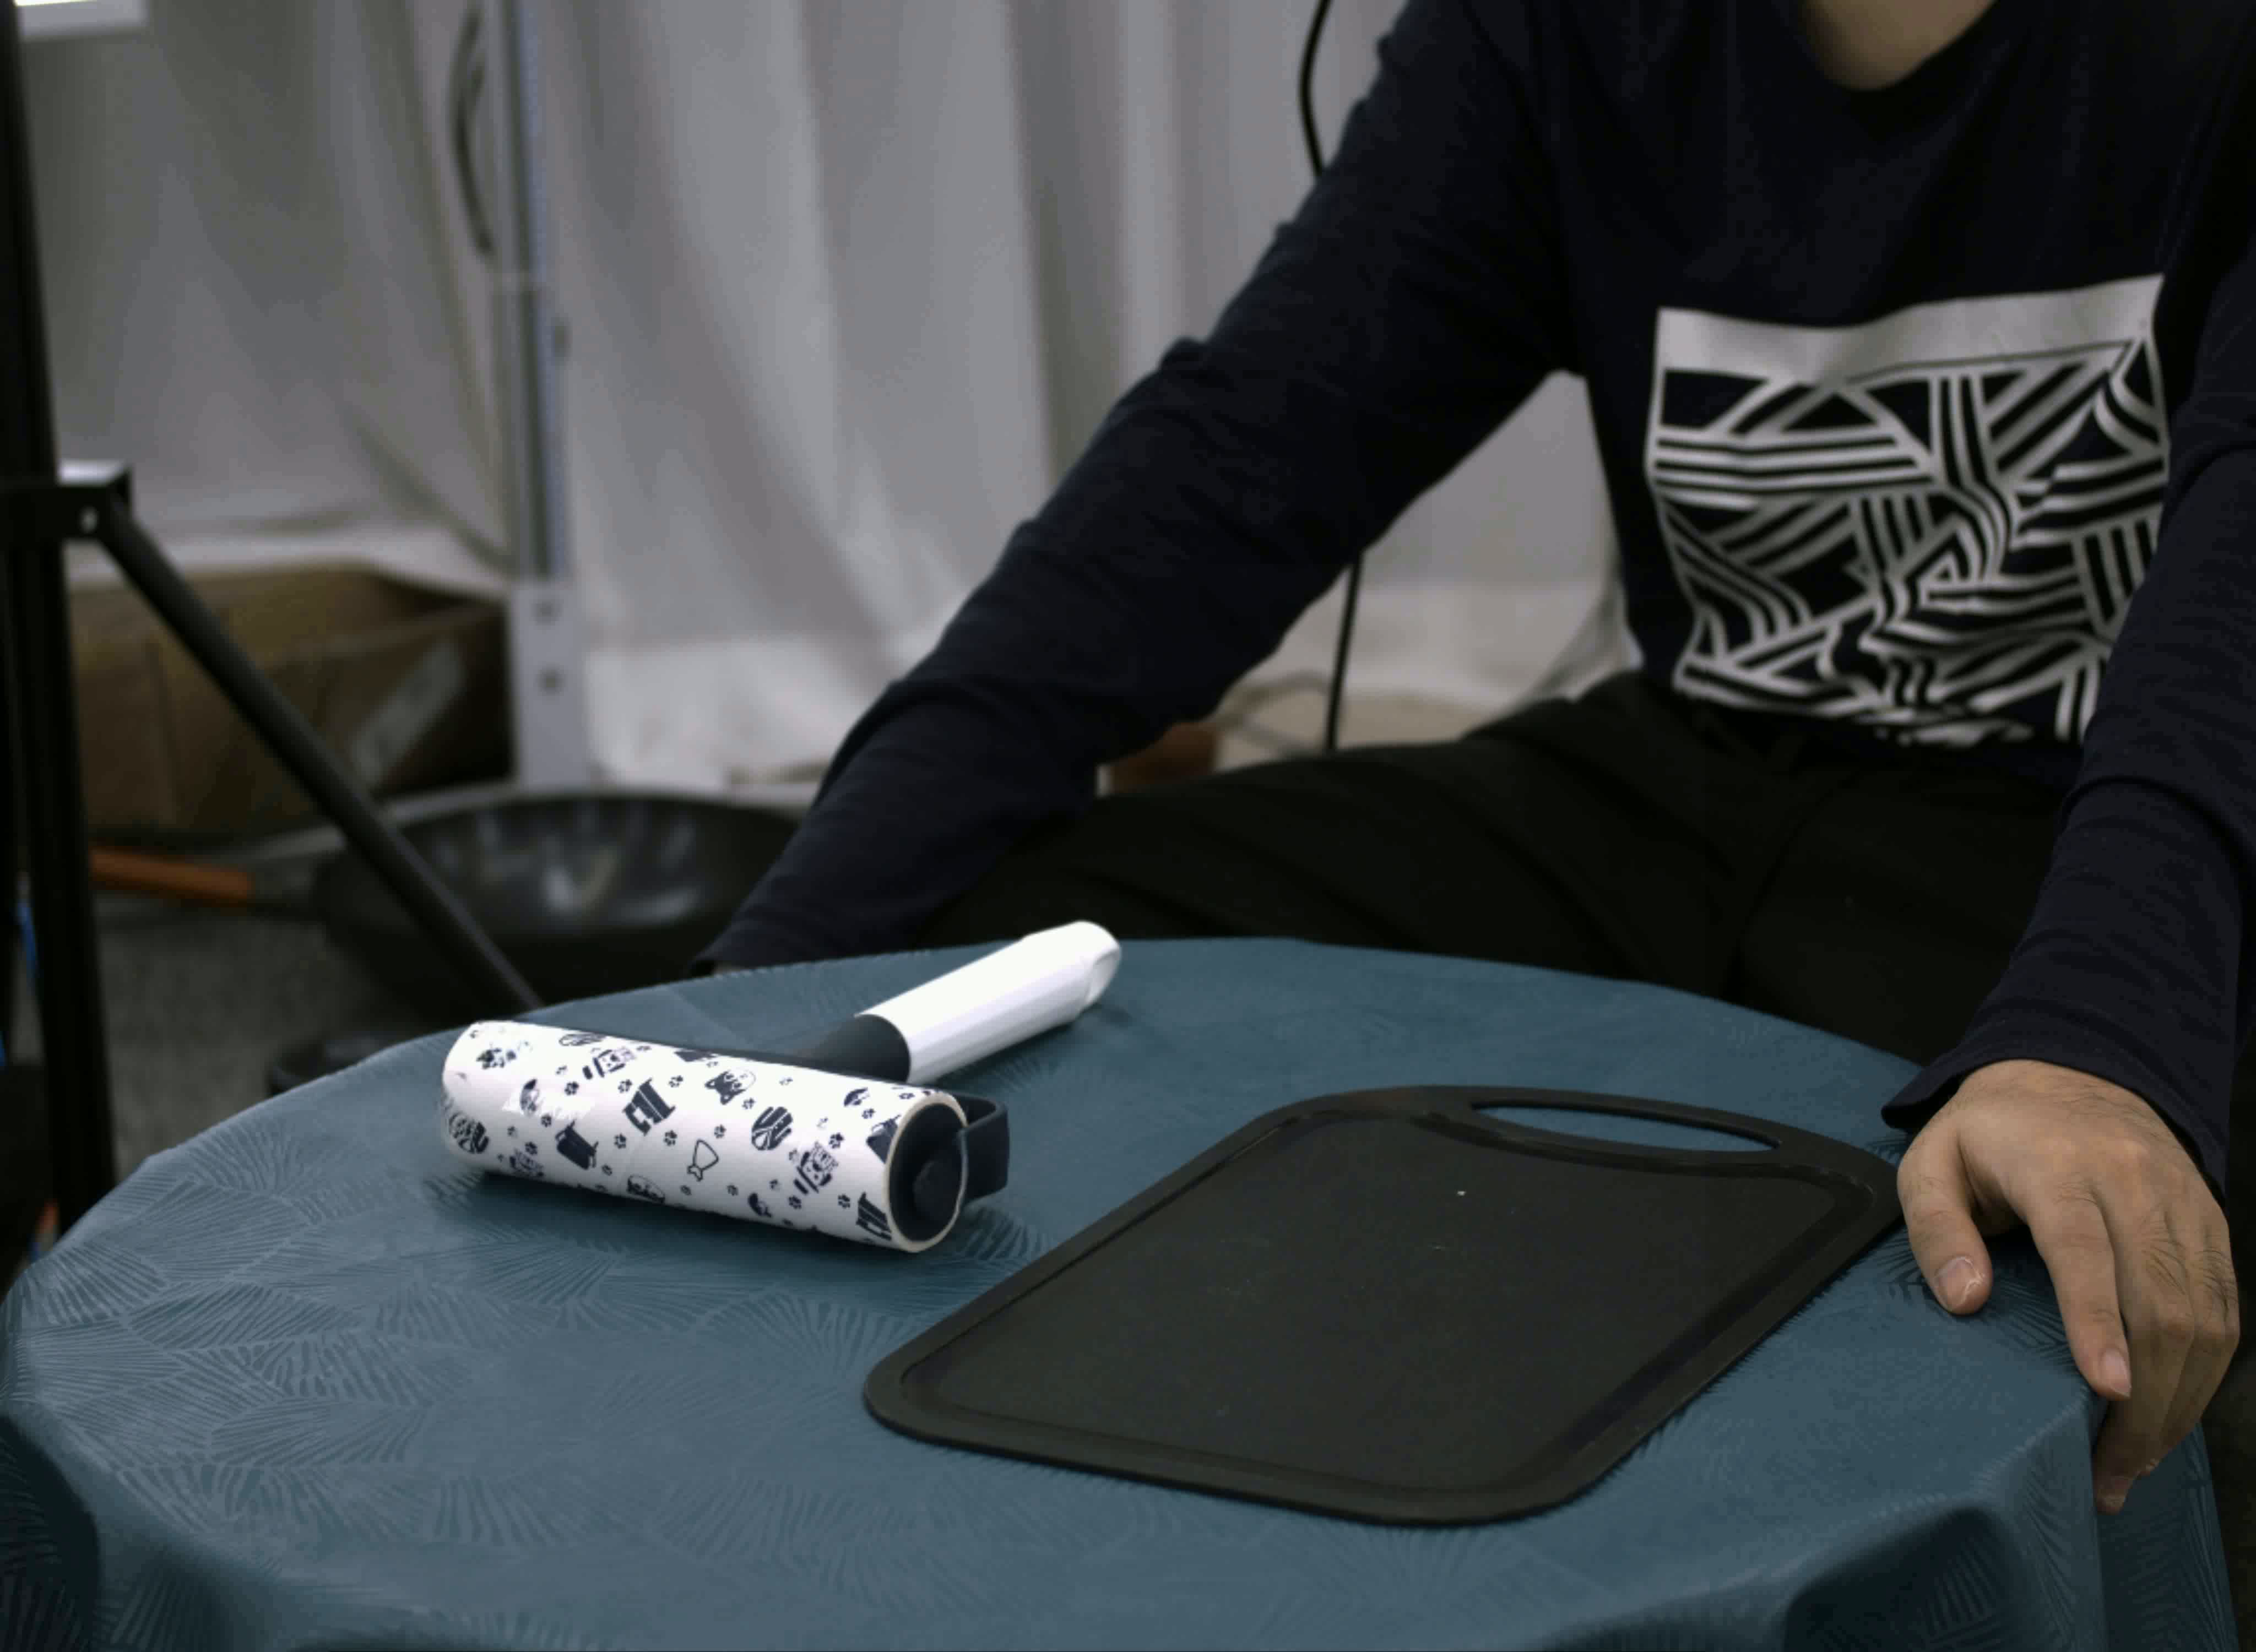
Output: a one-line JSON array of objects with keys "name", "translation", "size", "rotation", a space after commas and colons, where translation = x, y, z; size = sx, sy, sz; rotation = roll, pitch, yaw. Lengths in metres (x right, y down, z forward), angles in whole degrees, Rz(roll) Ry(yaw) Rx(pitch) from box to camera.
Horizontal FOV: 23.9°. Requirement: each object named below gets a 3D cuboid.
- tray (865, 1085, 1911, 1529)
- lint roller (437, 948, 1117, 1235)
[{"name": "tray", "translation": [0.082, 0.124, 1.481], "size": [0.215, 0.010, 0.319], "rotation": [7, 18, 30]}, {"name": "lint roller", "translation": [-0.074, 0.067, 1.644], "size": [0.179, 0.050, 0.242], "rotation": [6, 15, 31]}]
